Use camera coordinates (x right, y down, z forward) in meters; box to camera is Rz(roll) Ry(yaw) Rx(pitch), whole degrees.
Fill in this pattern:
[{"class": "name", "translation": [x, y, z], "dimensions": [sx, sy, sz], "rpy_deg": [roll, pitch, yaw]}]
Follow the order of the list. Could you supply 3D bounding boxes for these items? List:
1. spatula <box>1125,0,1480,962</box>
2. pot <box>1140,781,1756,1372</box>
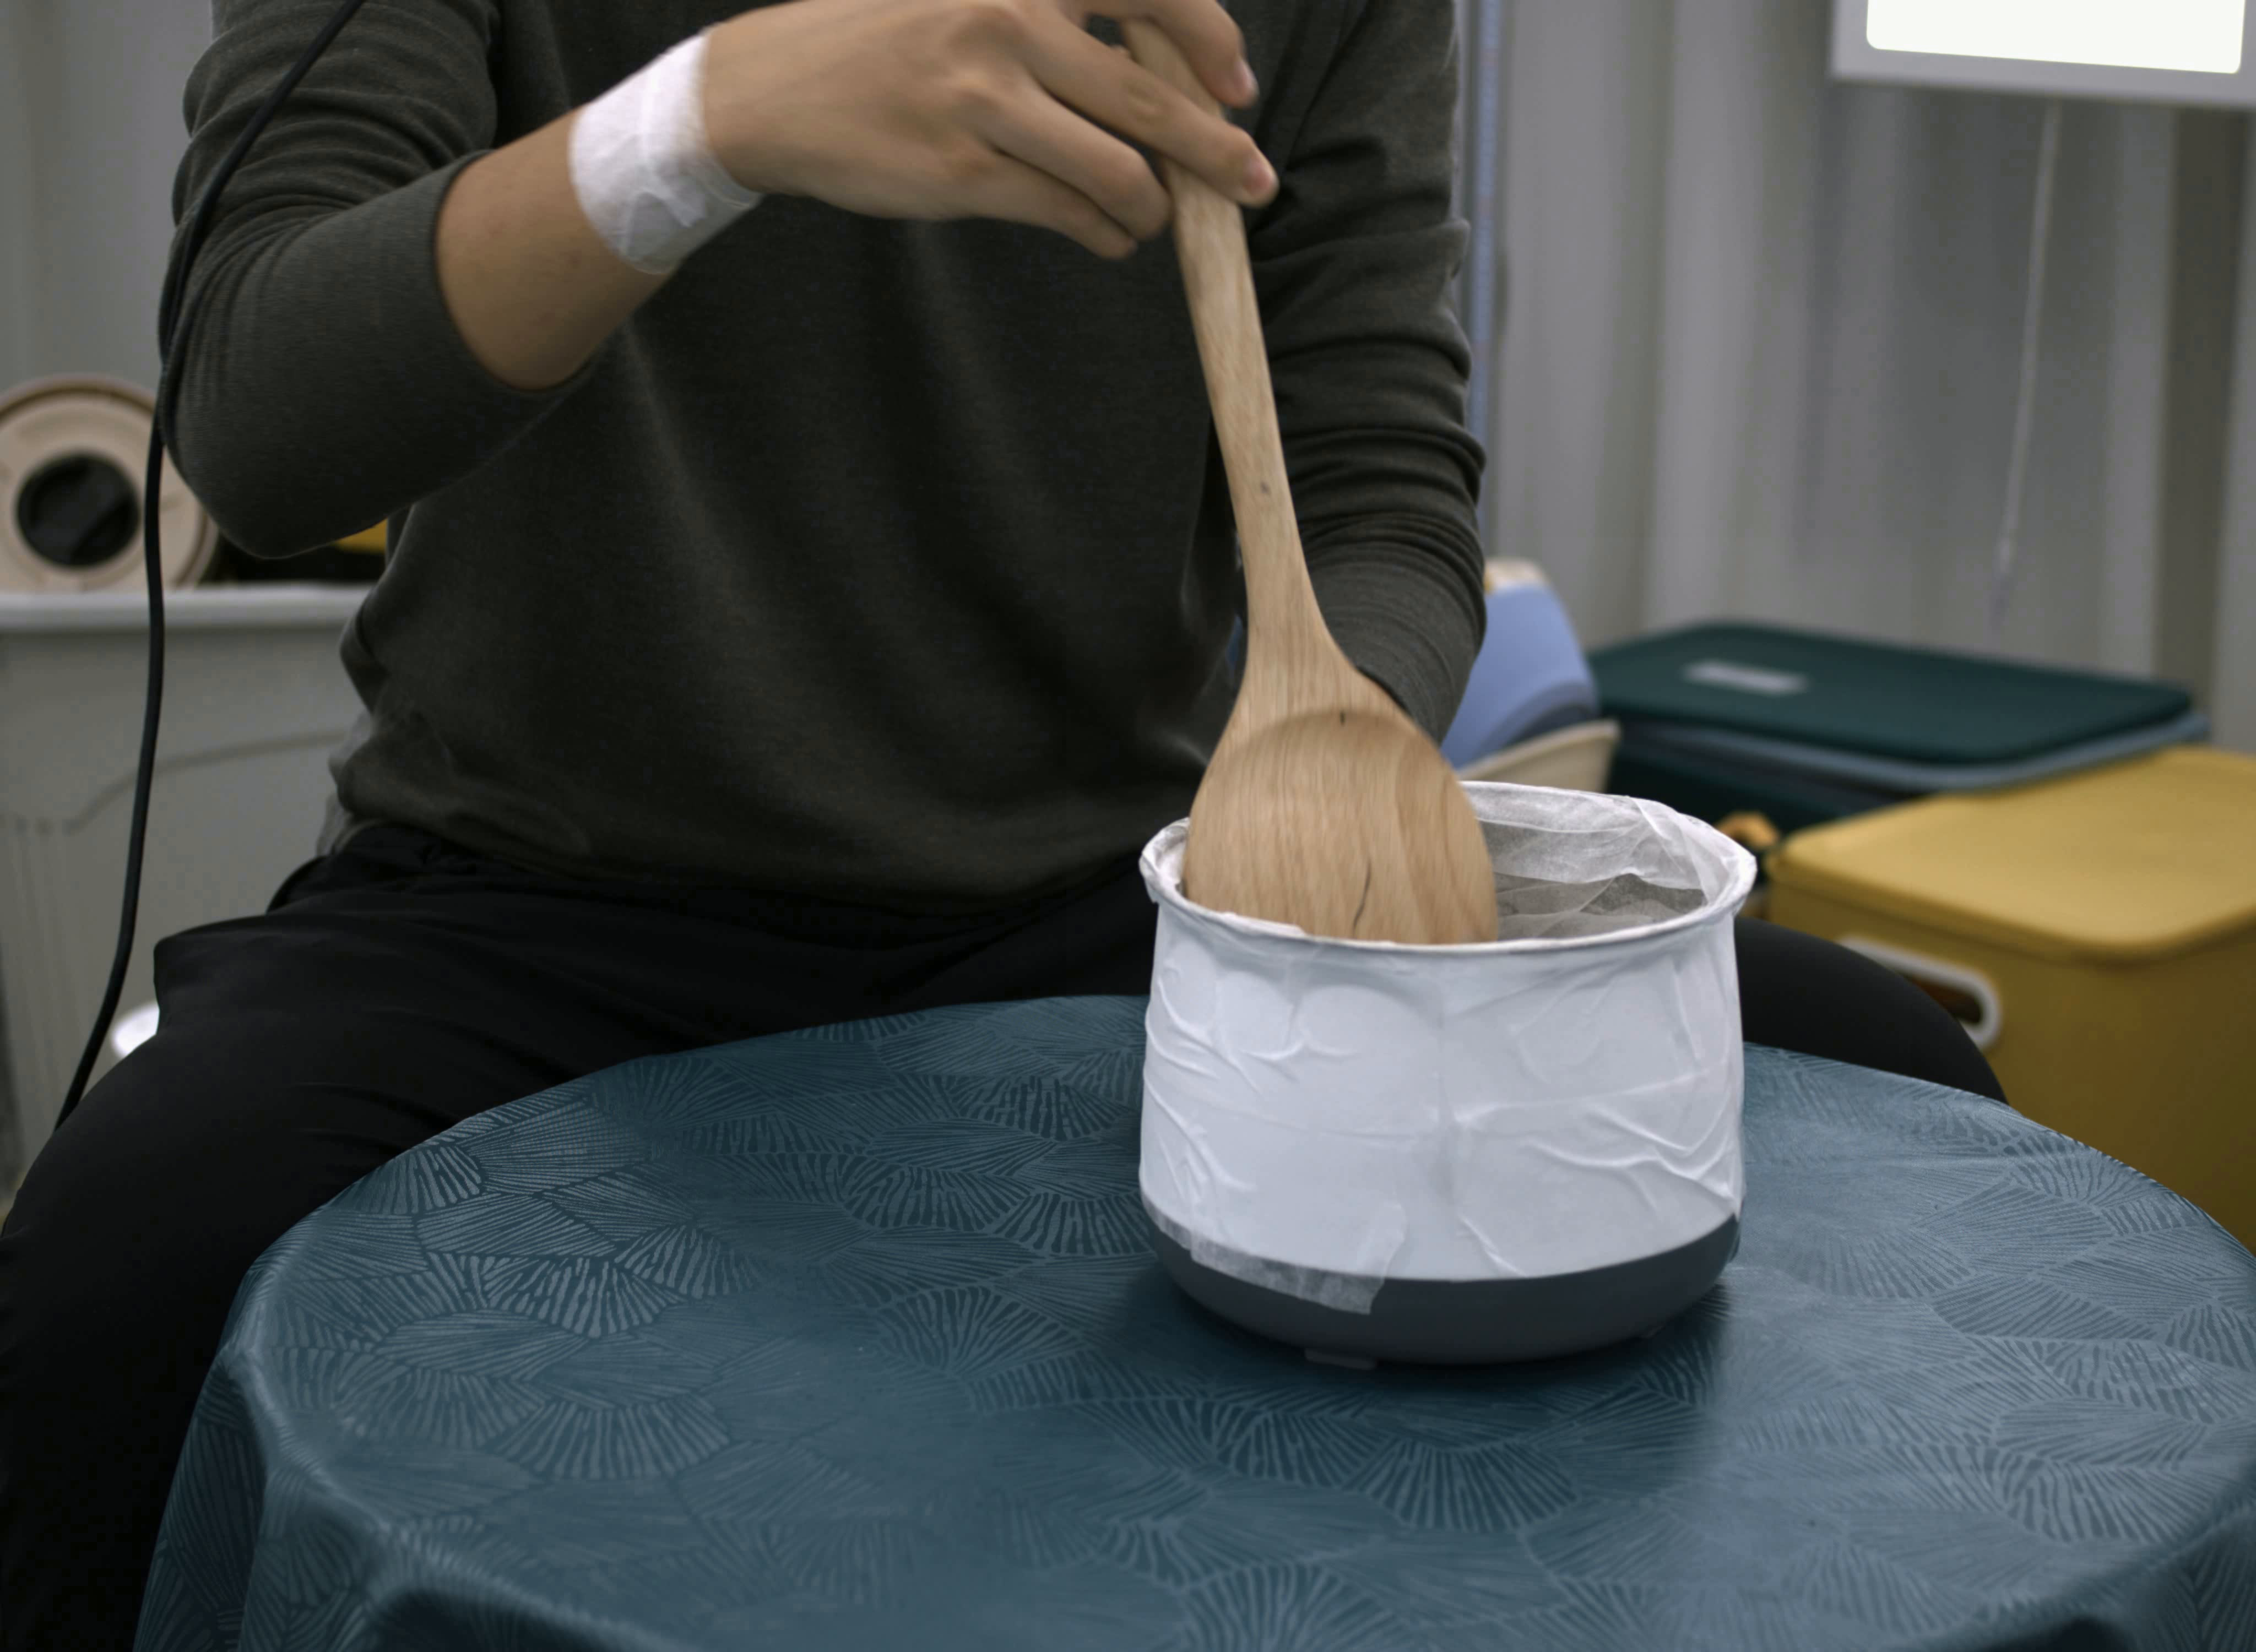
[{"class": "spatula", "translation": [0.027, -0.126, 1.498], "dimensions": [0.096, 0.393, 0.018], "rpy_deg": [-13, 12, -16]}, {"class": "pot", "translation": [0.082, 0.064, 1.548], "dimensions": [0.179, 0.138, 0.231], "rpy_deg": [-5, 16, -18]}]
